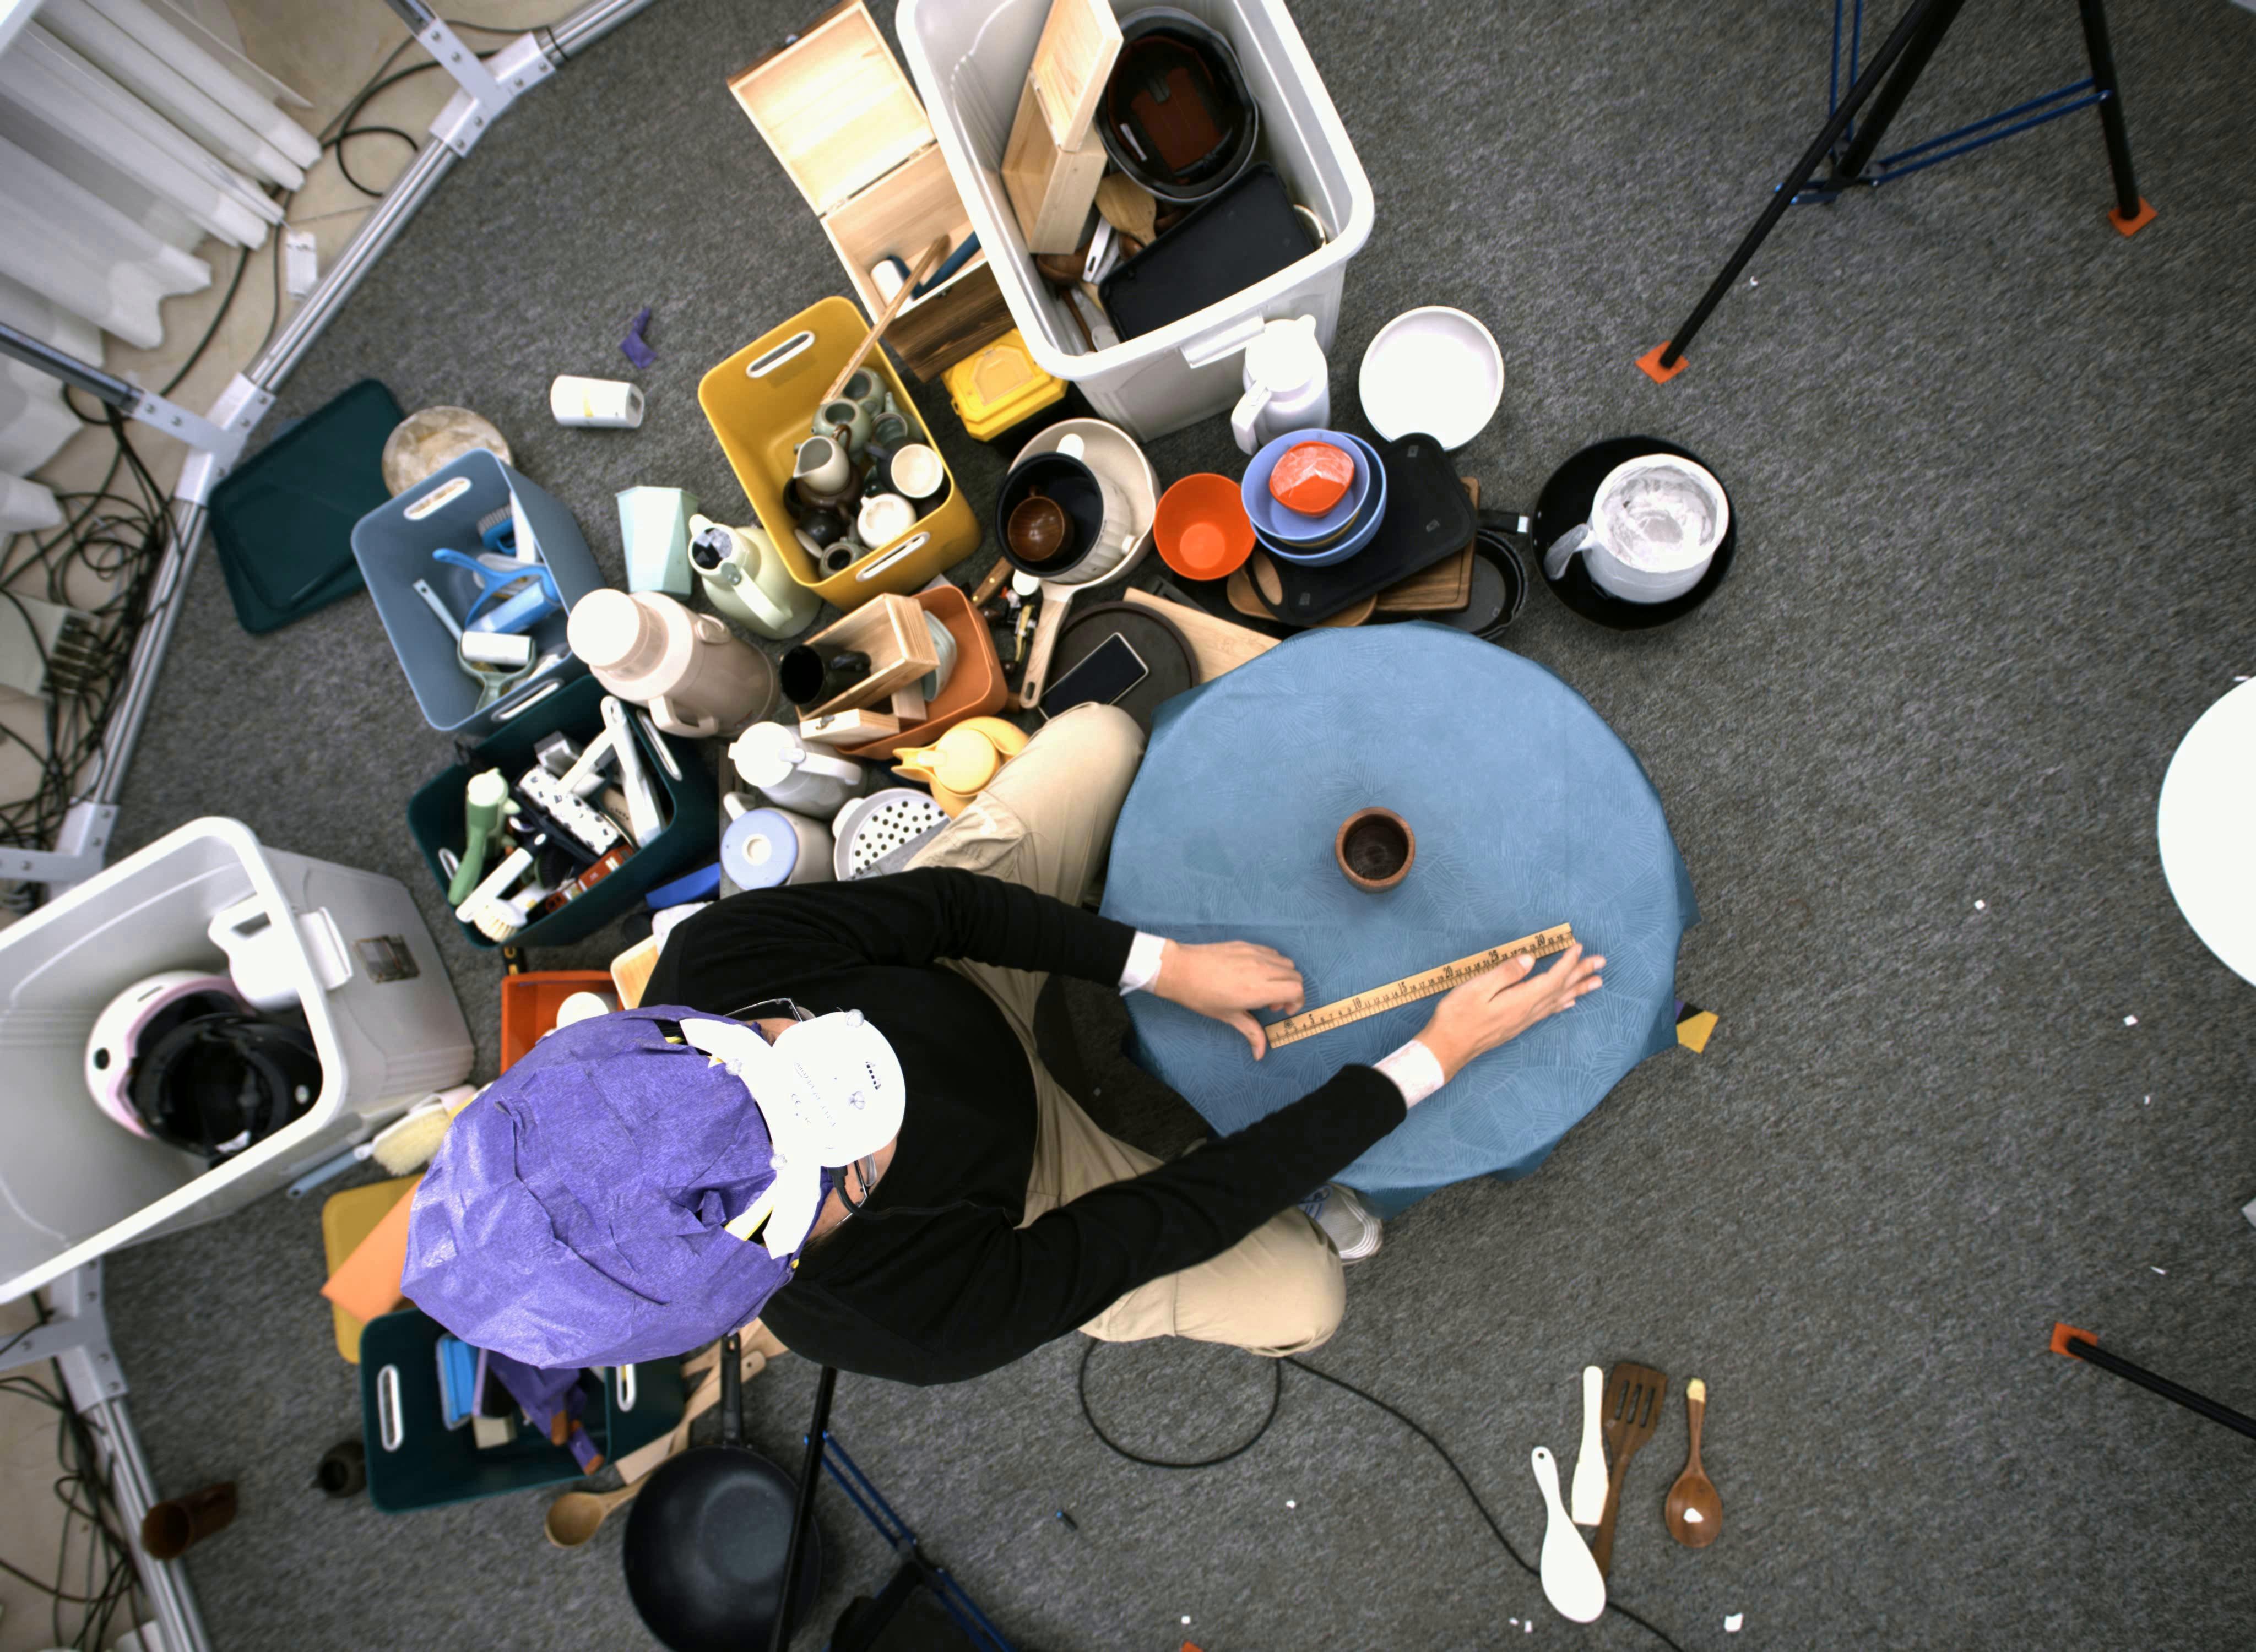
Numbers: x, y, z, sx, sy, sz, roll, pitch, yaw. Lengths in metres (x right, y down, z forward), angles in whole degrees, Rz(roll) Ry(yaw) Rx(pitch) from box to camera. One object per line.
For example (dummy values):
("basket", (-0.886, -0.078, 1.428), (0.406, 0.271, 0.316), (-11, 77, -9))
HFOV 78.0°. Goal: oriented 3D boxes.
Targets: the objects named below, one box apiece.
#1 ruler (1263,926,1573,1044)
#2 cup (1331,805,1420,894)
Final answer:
("ruler", (0.301, 0.166, 1.444), (0.334, 0.022, 0.027), (-19, 76, 9))
("cup", (0.254, 0.025, 1.407), (0.088, 0.118, 0.087), (-1, 84, 11))
